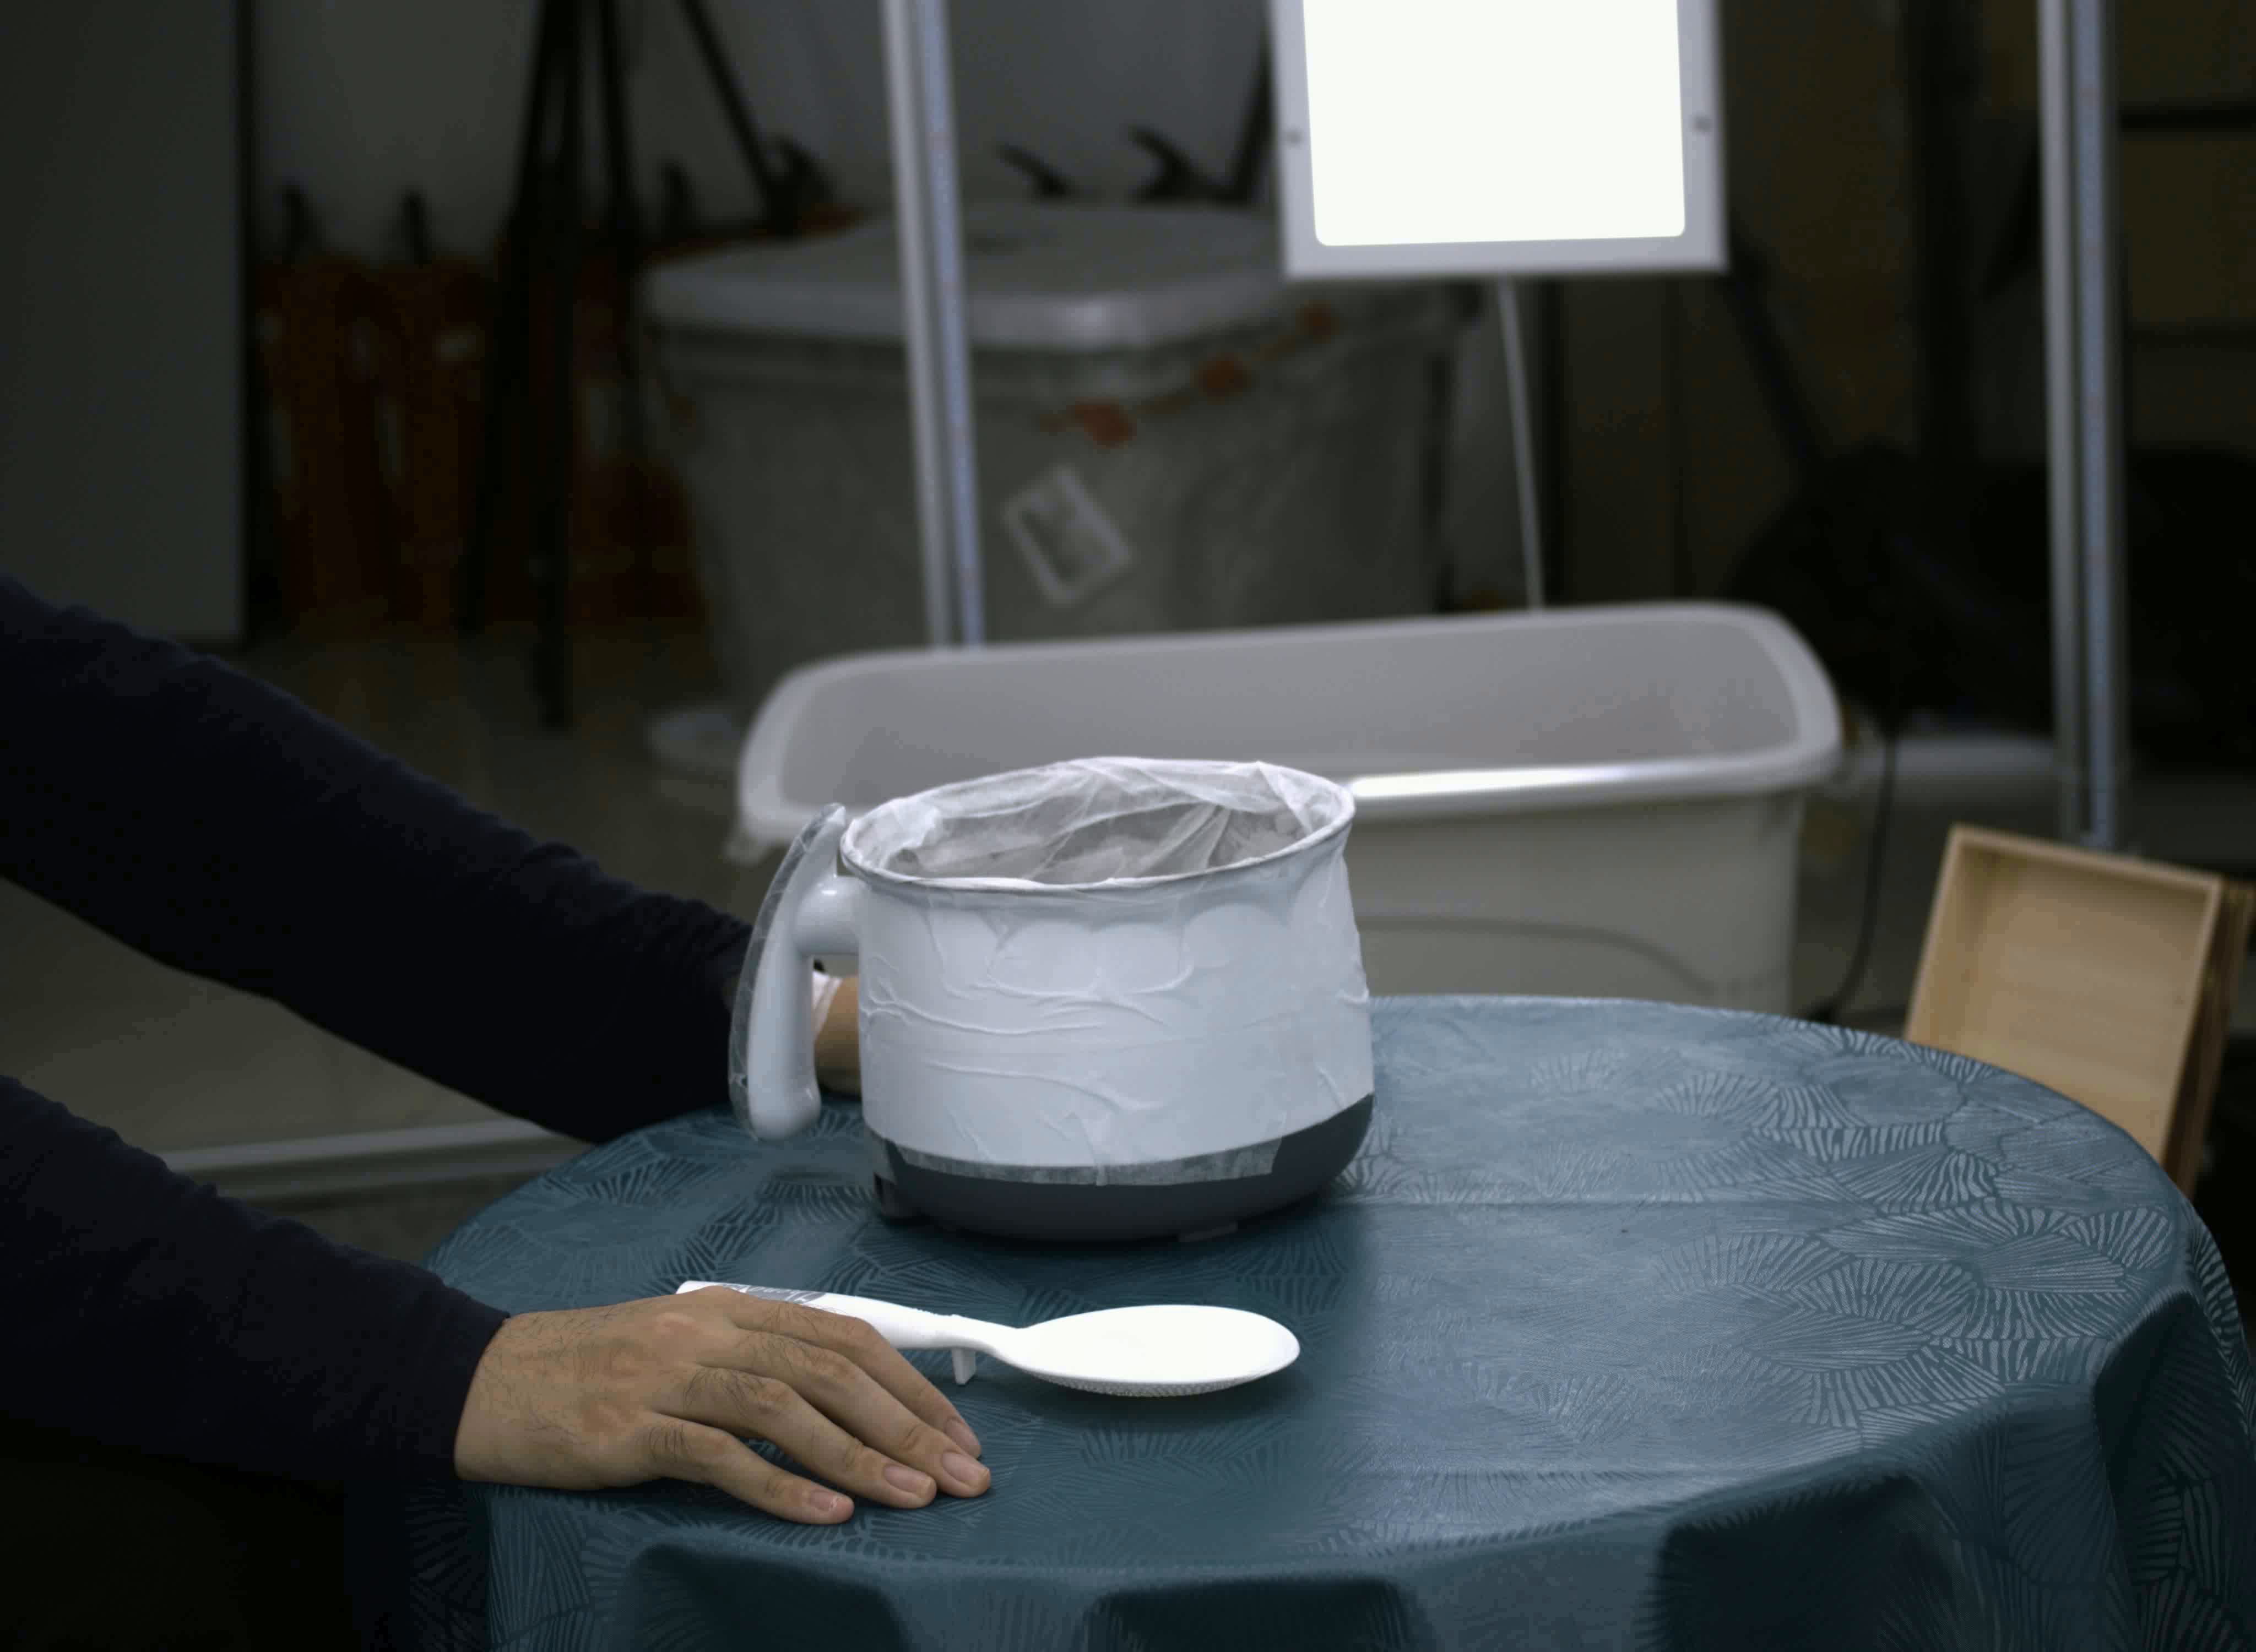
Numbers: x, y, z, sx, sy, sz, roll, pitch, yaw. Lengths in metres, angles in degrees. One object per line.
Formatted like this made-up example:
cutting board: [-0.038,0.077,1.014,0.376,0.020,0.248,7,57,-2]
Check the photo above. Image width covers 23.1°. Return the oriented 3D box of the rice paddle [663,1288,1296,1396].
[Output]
rice paddle: [-0.046,0.160,1.723,0.208,0.029,0.067,-1,16,20]

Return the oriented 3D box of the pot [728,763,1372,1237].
pot: [-0.031,0.058,1.902,0.237,0.137,0.175,2,12,21]
